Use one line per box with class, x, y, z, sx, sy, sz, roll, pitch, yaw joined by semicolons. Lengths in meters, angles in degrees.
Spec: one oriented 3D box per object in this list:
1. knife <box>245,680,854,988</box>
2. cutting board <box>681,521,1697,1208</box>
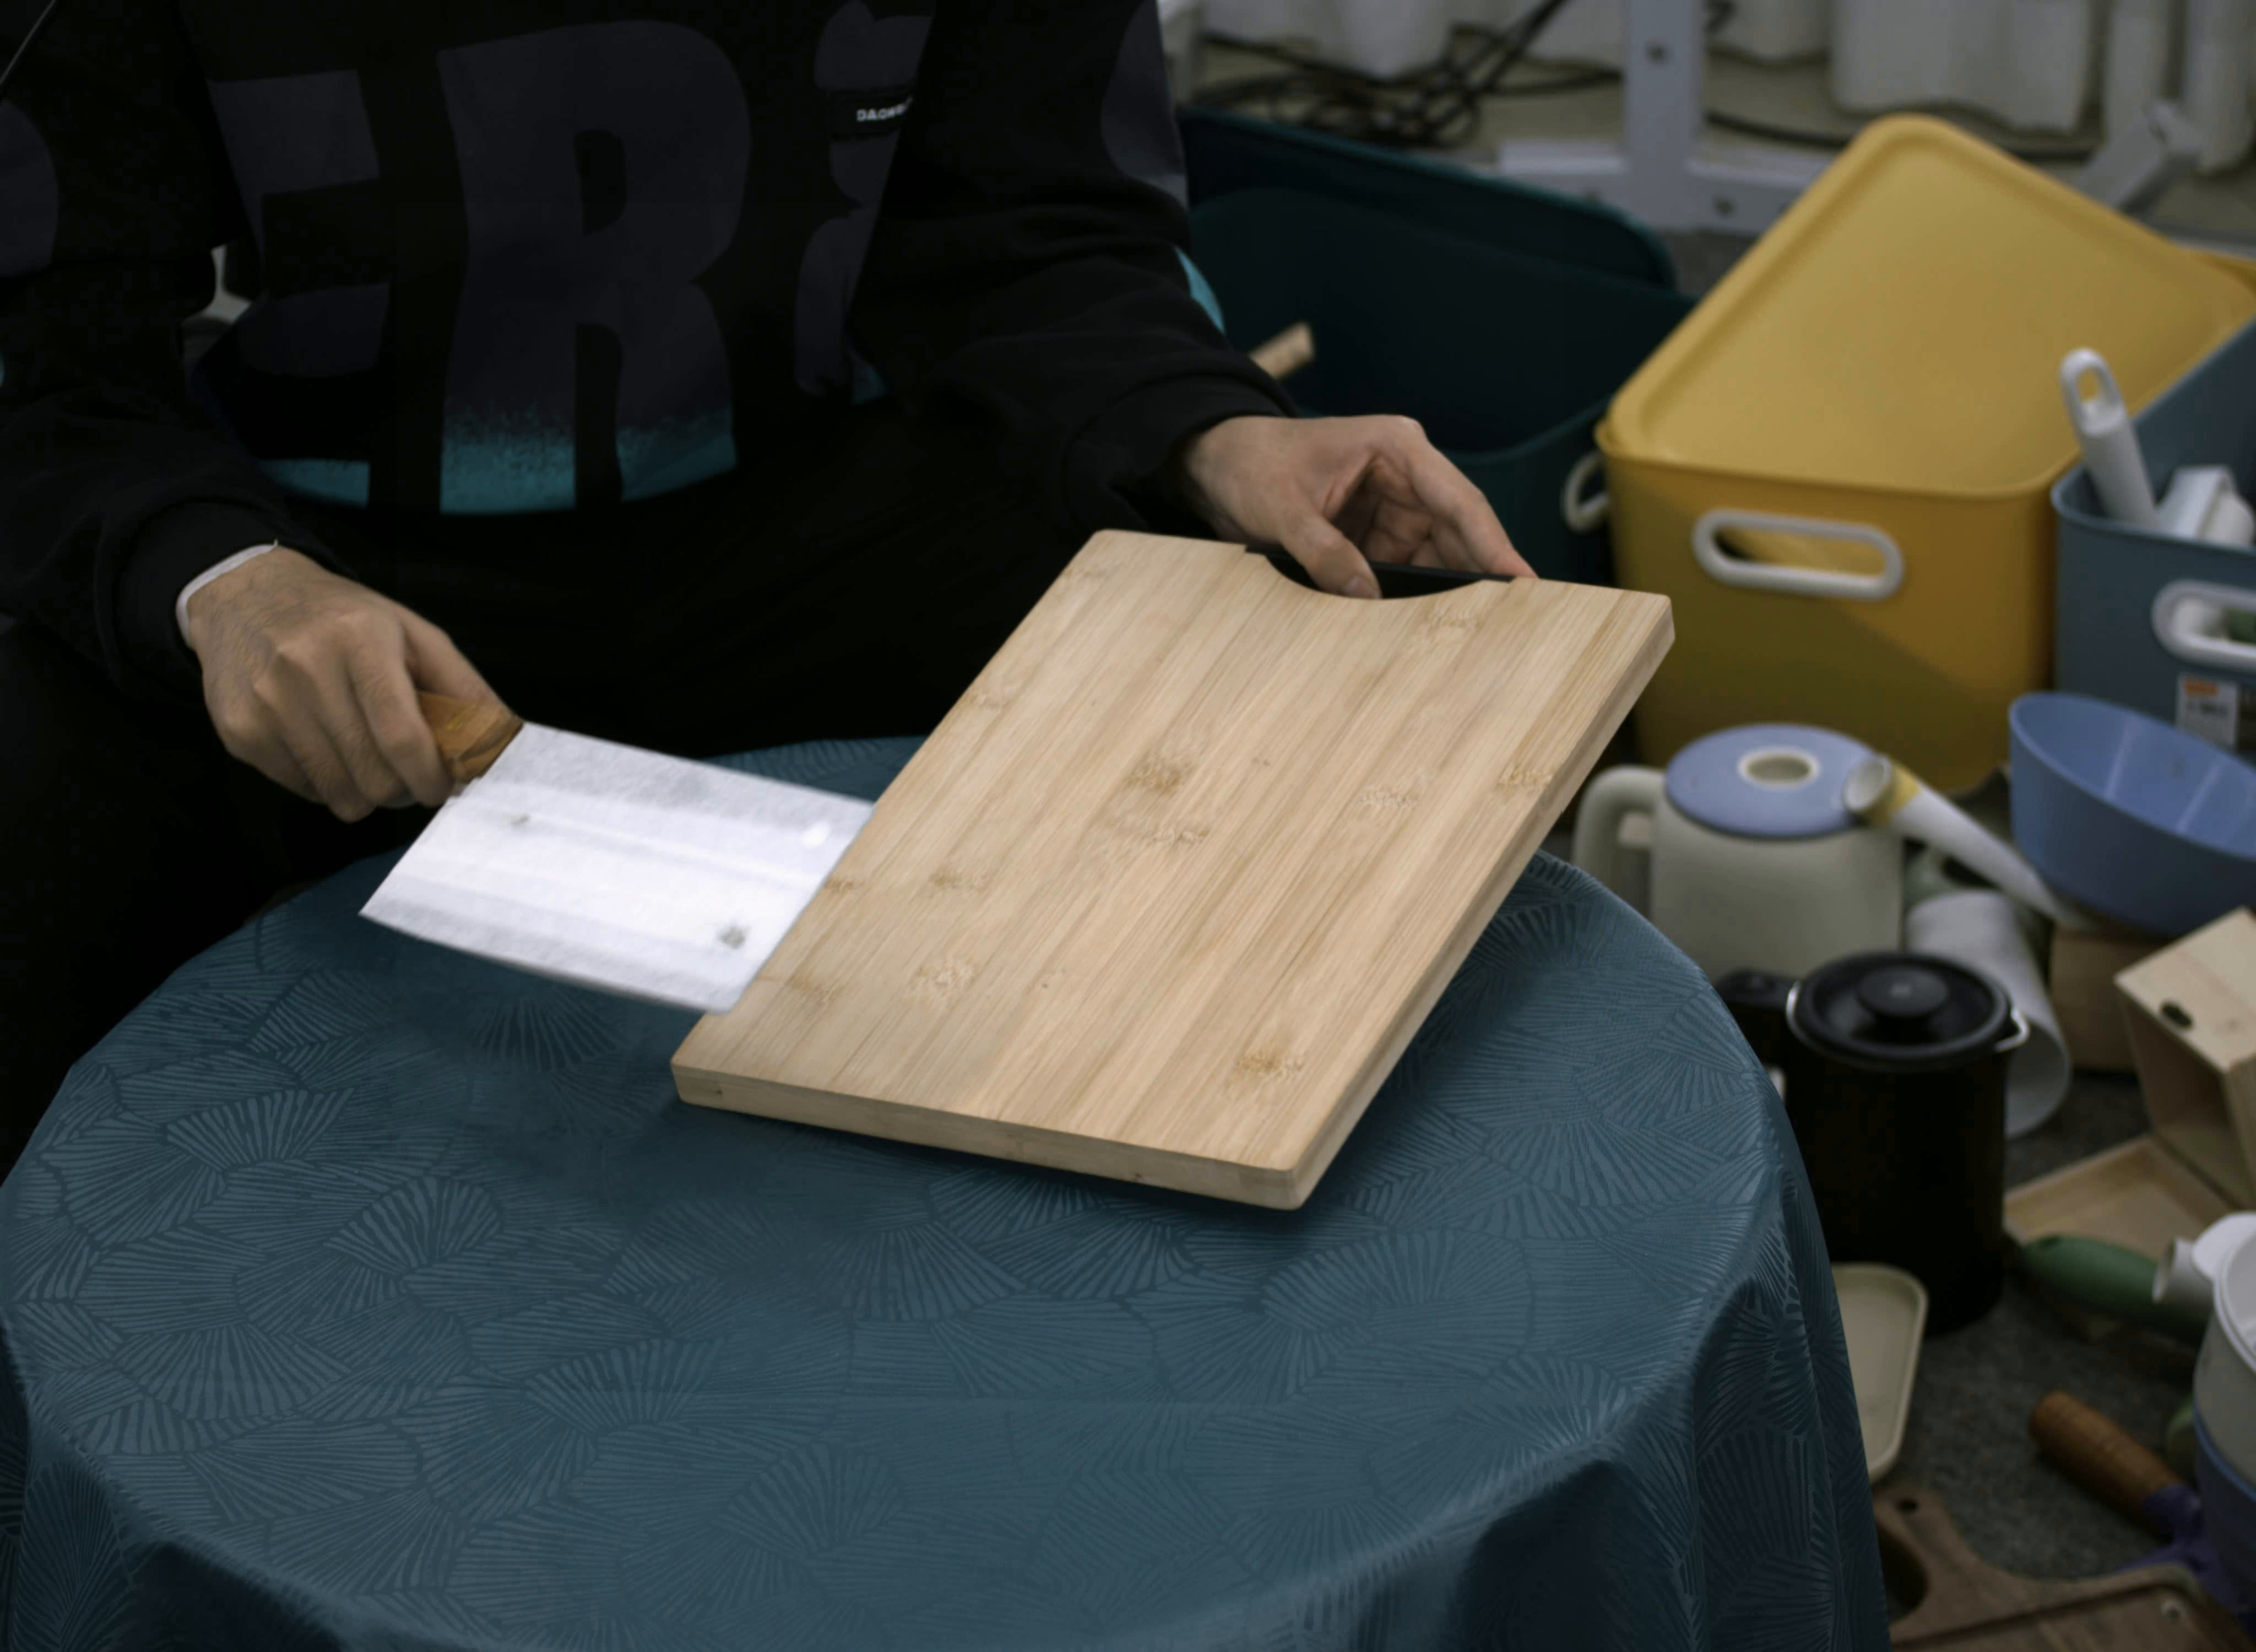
knife;-0.215;0.005;1.911;0.304;0.021;0.094;13;59;44
cutting board;0.026;0.004;1.996;0.249;0.023;0.355;8;38;25
